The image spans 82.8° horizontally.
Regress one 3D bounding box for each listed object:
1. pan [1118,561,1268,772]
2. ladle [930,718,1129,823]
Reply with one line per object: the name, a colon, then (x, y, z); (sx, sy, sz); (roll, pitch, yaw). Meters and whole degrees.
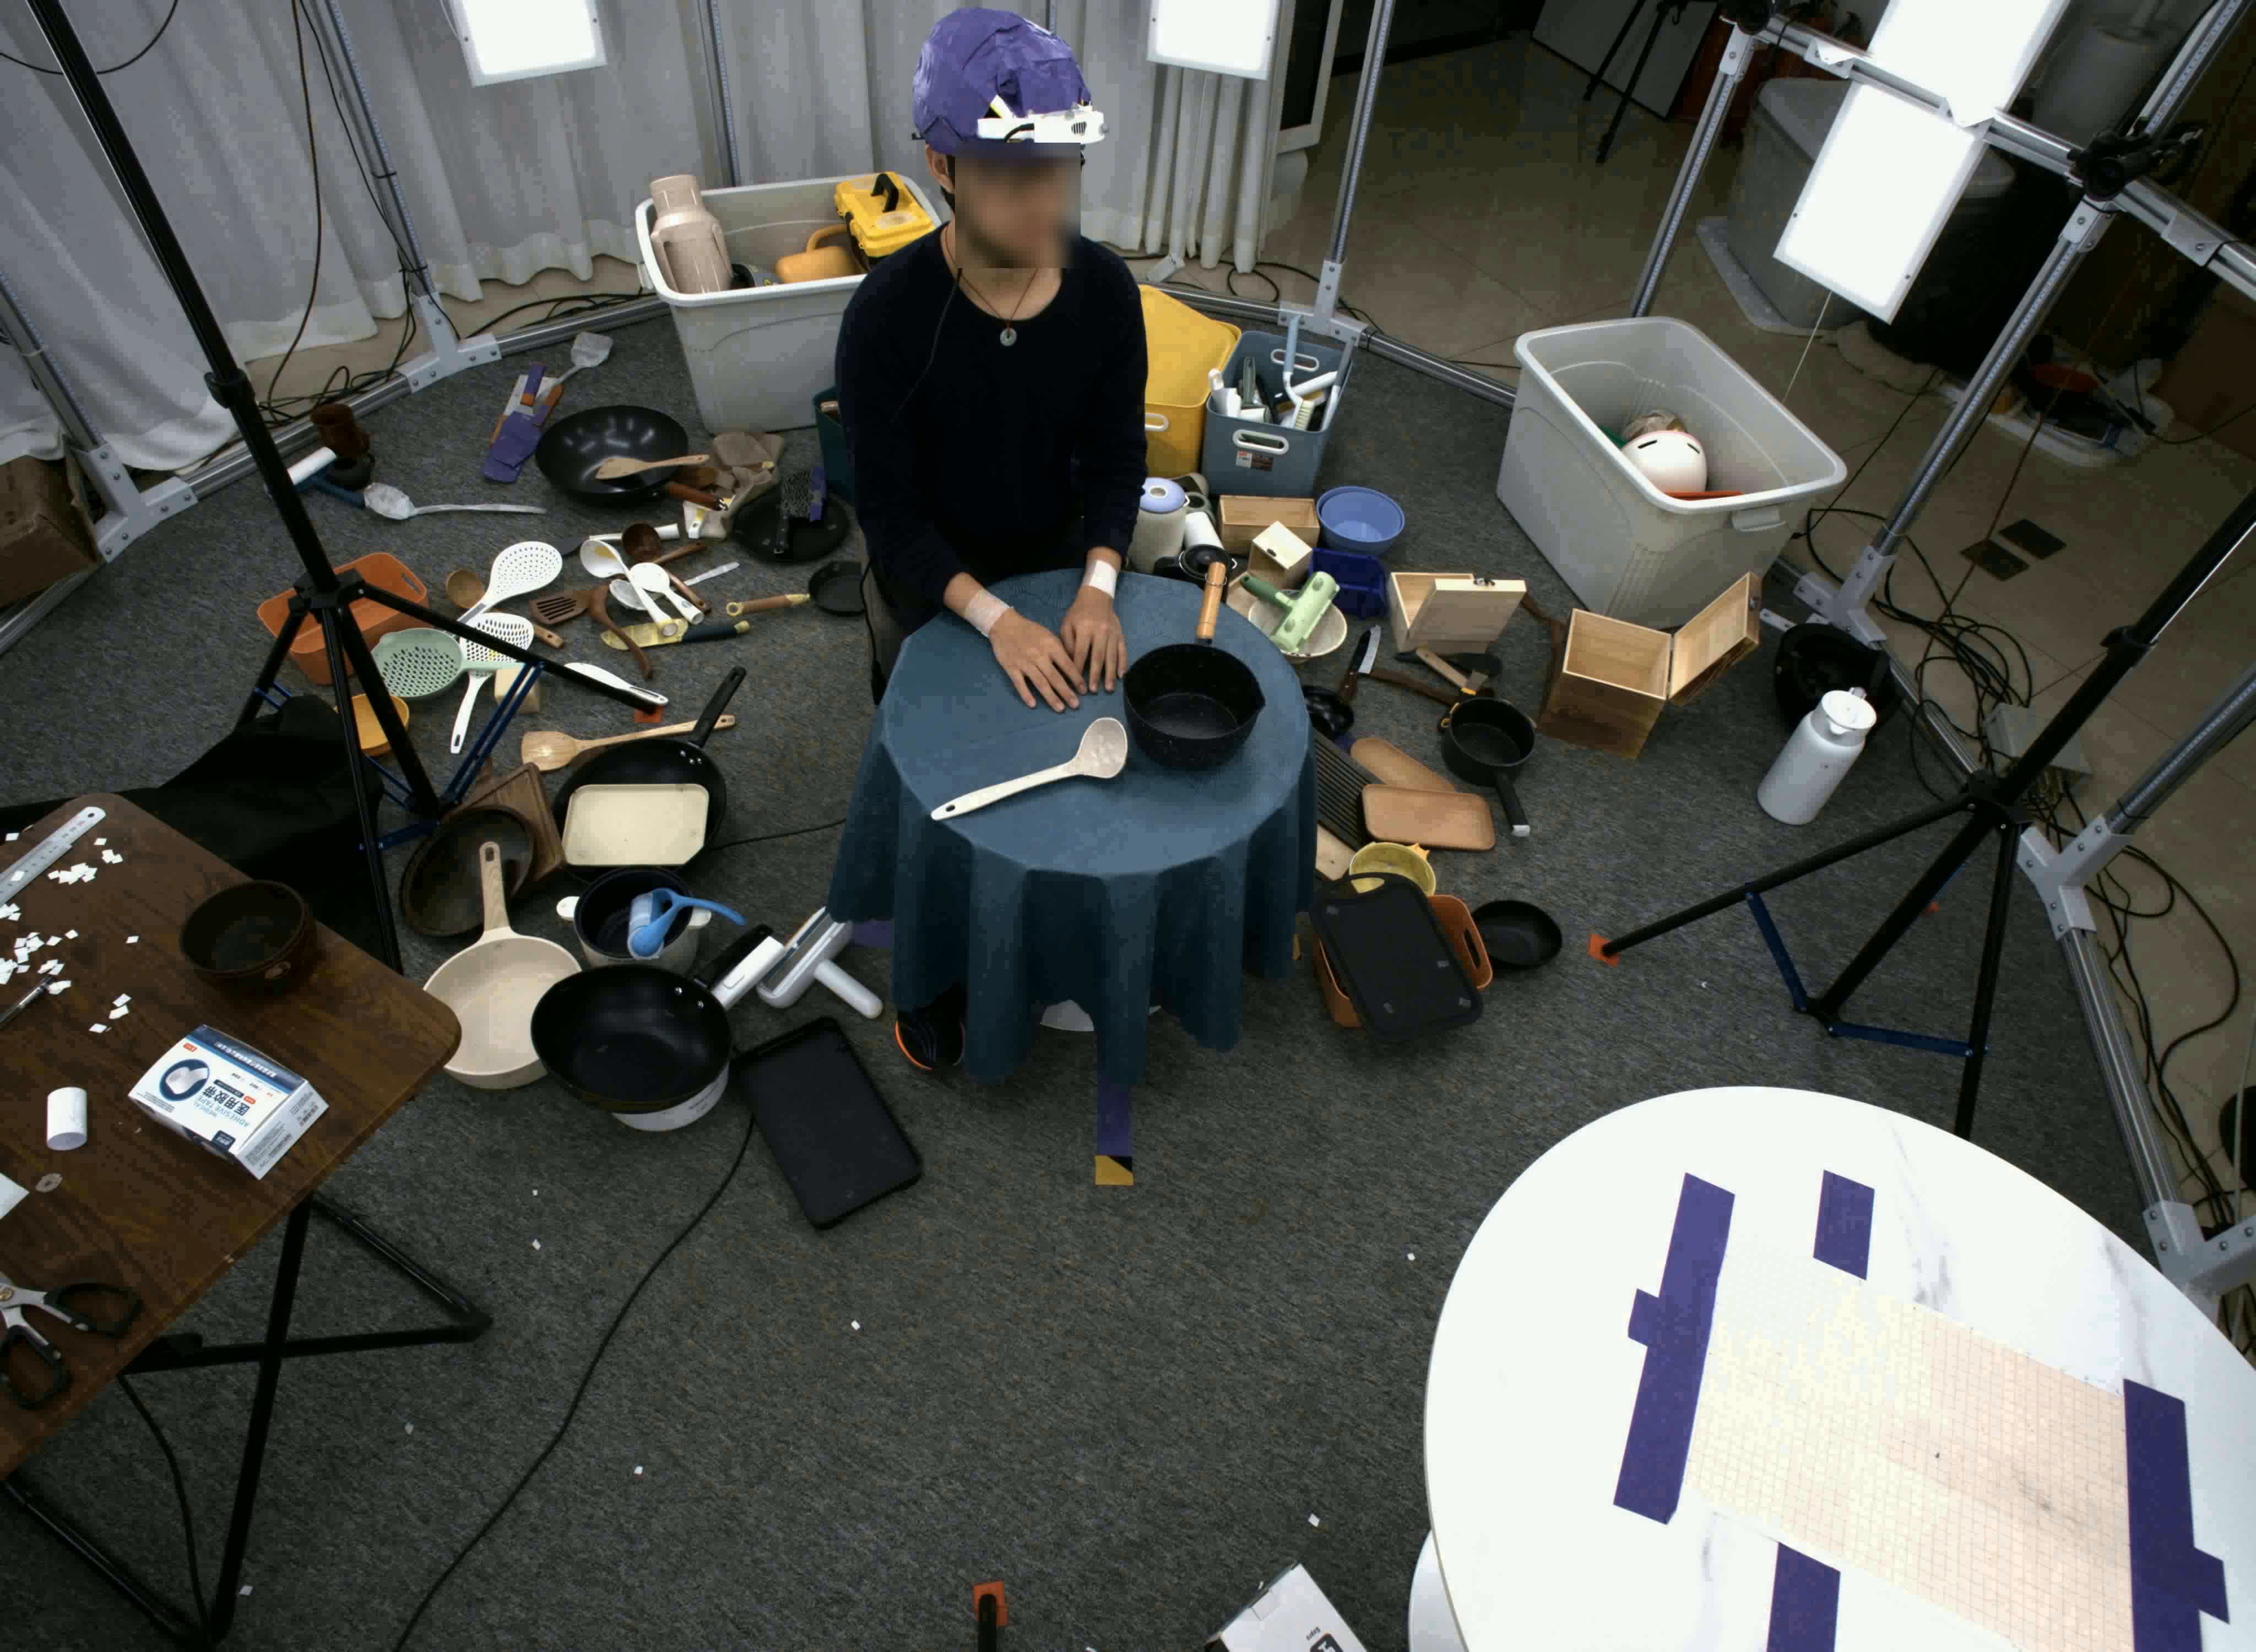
pan: (0.098, -0.225, 1.801); (0.207, 0.105, 0.351); (8, 50, 4)
ladle: (-0.128, -0.070, 1.677); (0.275, 0.068, 0.091); (-19, 60, -18)
